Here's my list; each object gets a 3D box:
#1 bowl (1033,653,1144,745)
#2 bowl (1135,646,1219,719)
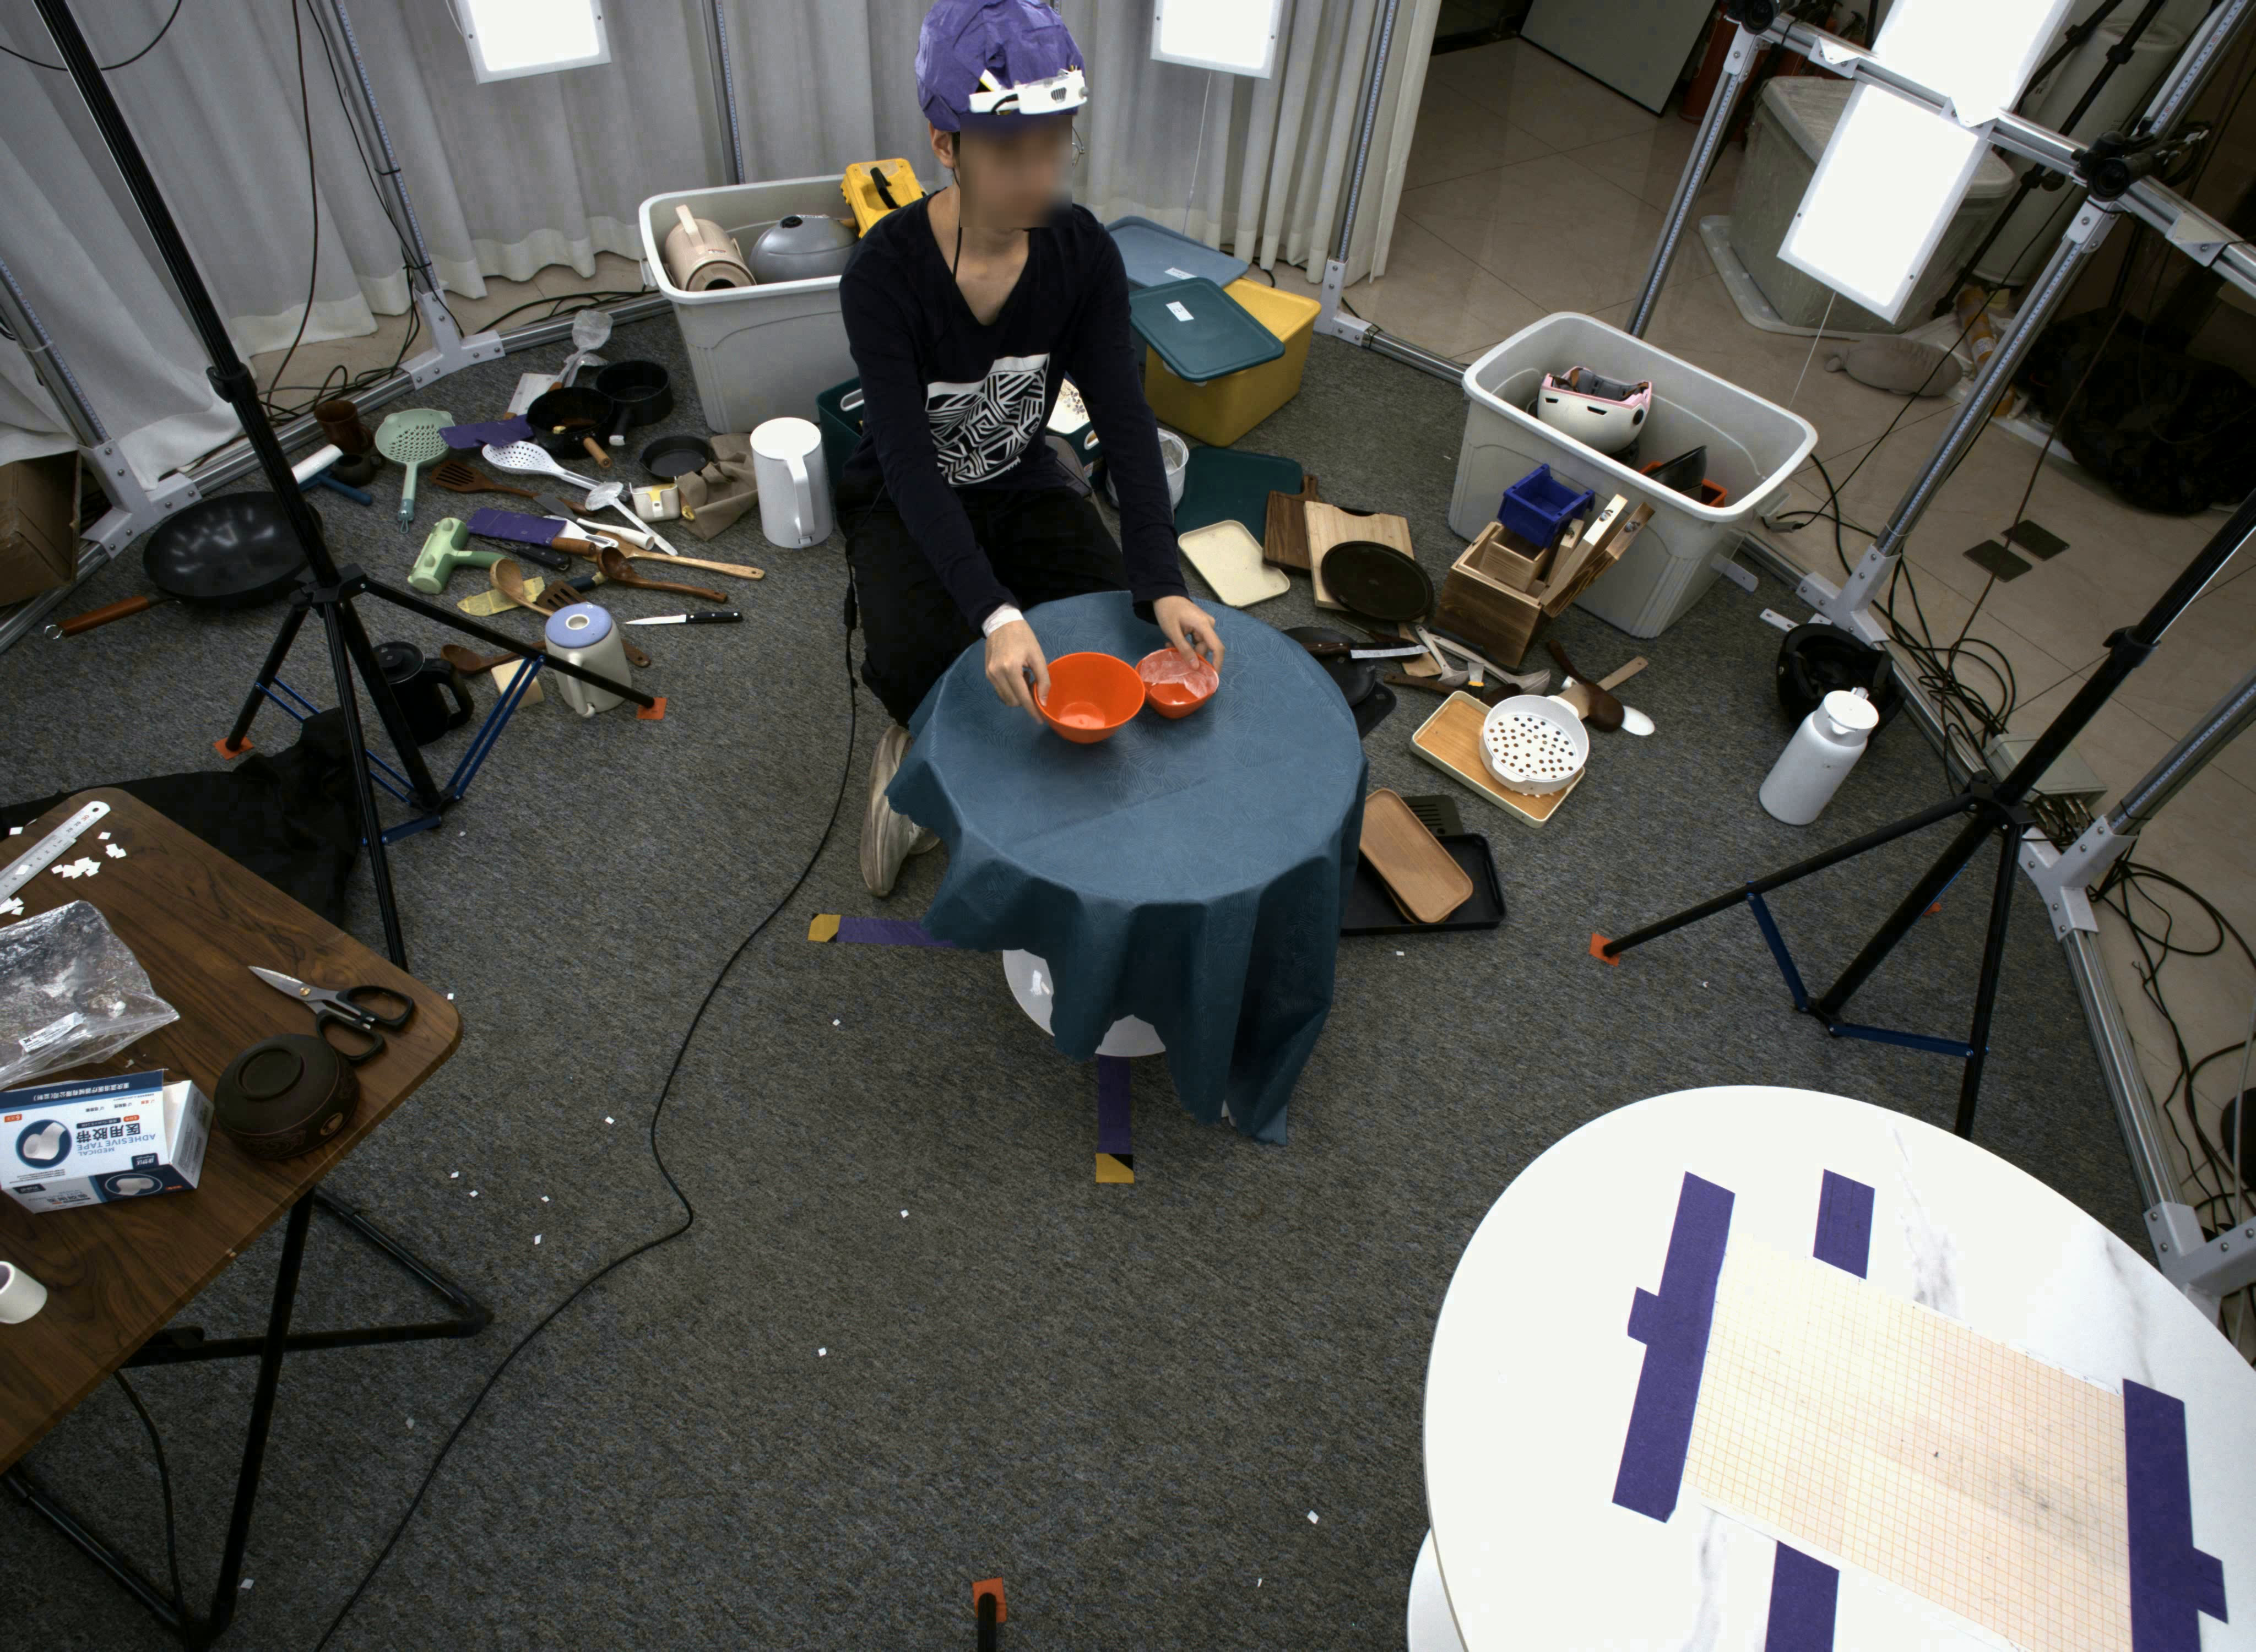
[{"bbox_3d":[-0.056,-0.157,1.732,0.148,0.102,0.151,2,57,-4],"label":"bowl"},{"bbox_3d":[0.067,-0.196,1.809,0.119,0.050,0.122,1,50,-2],"label":"bowl"}]
